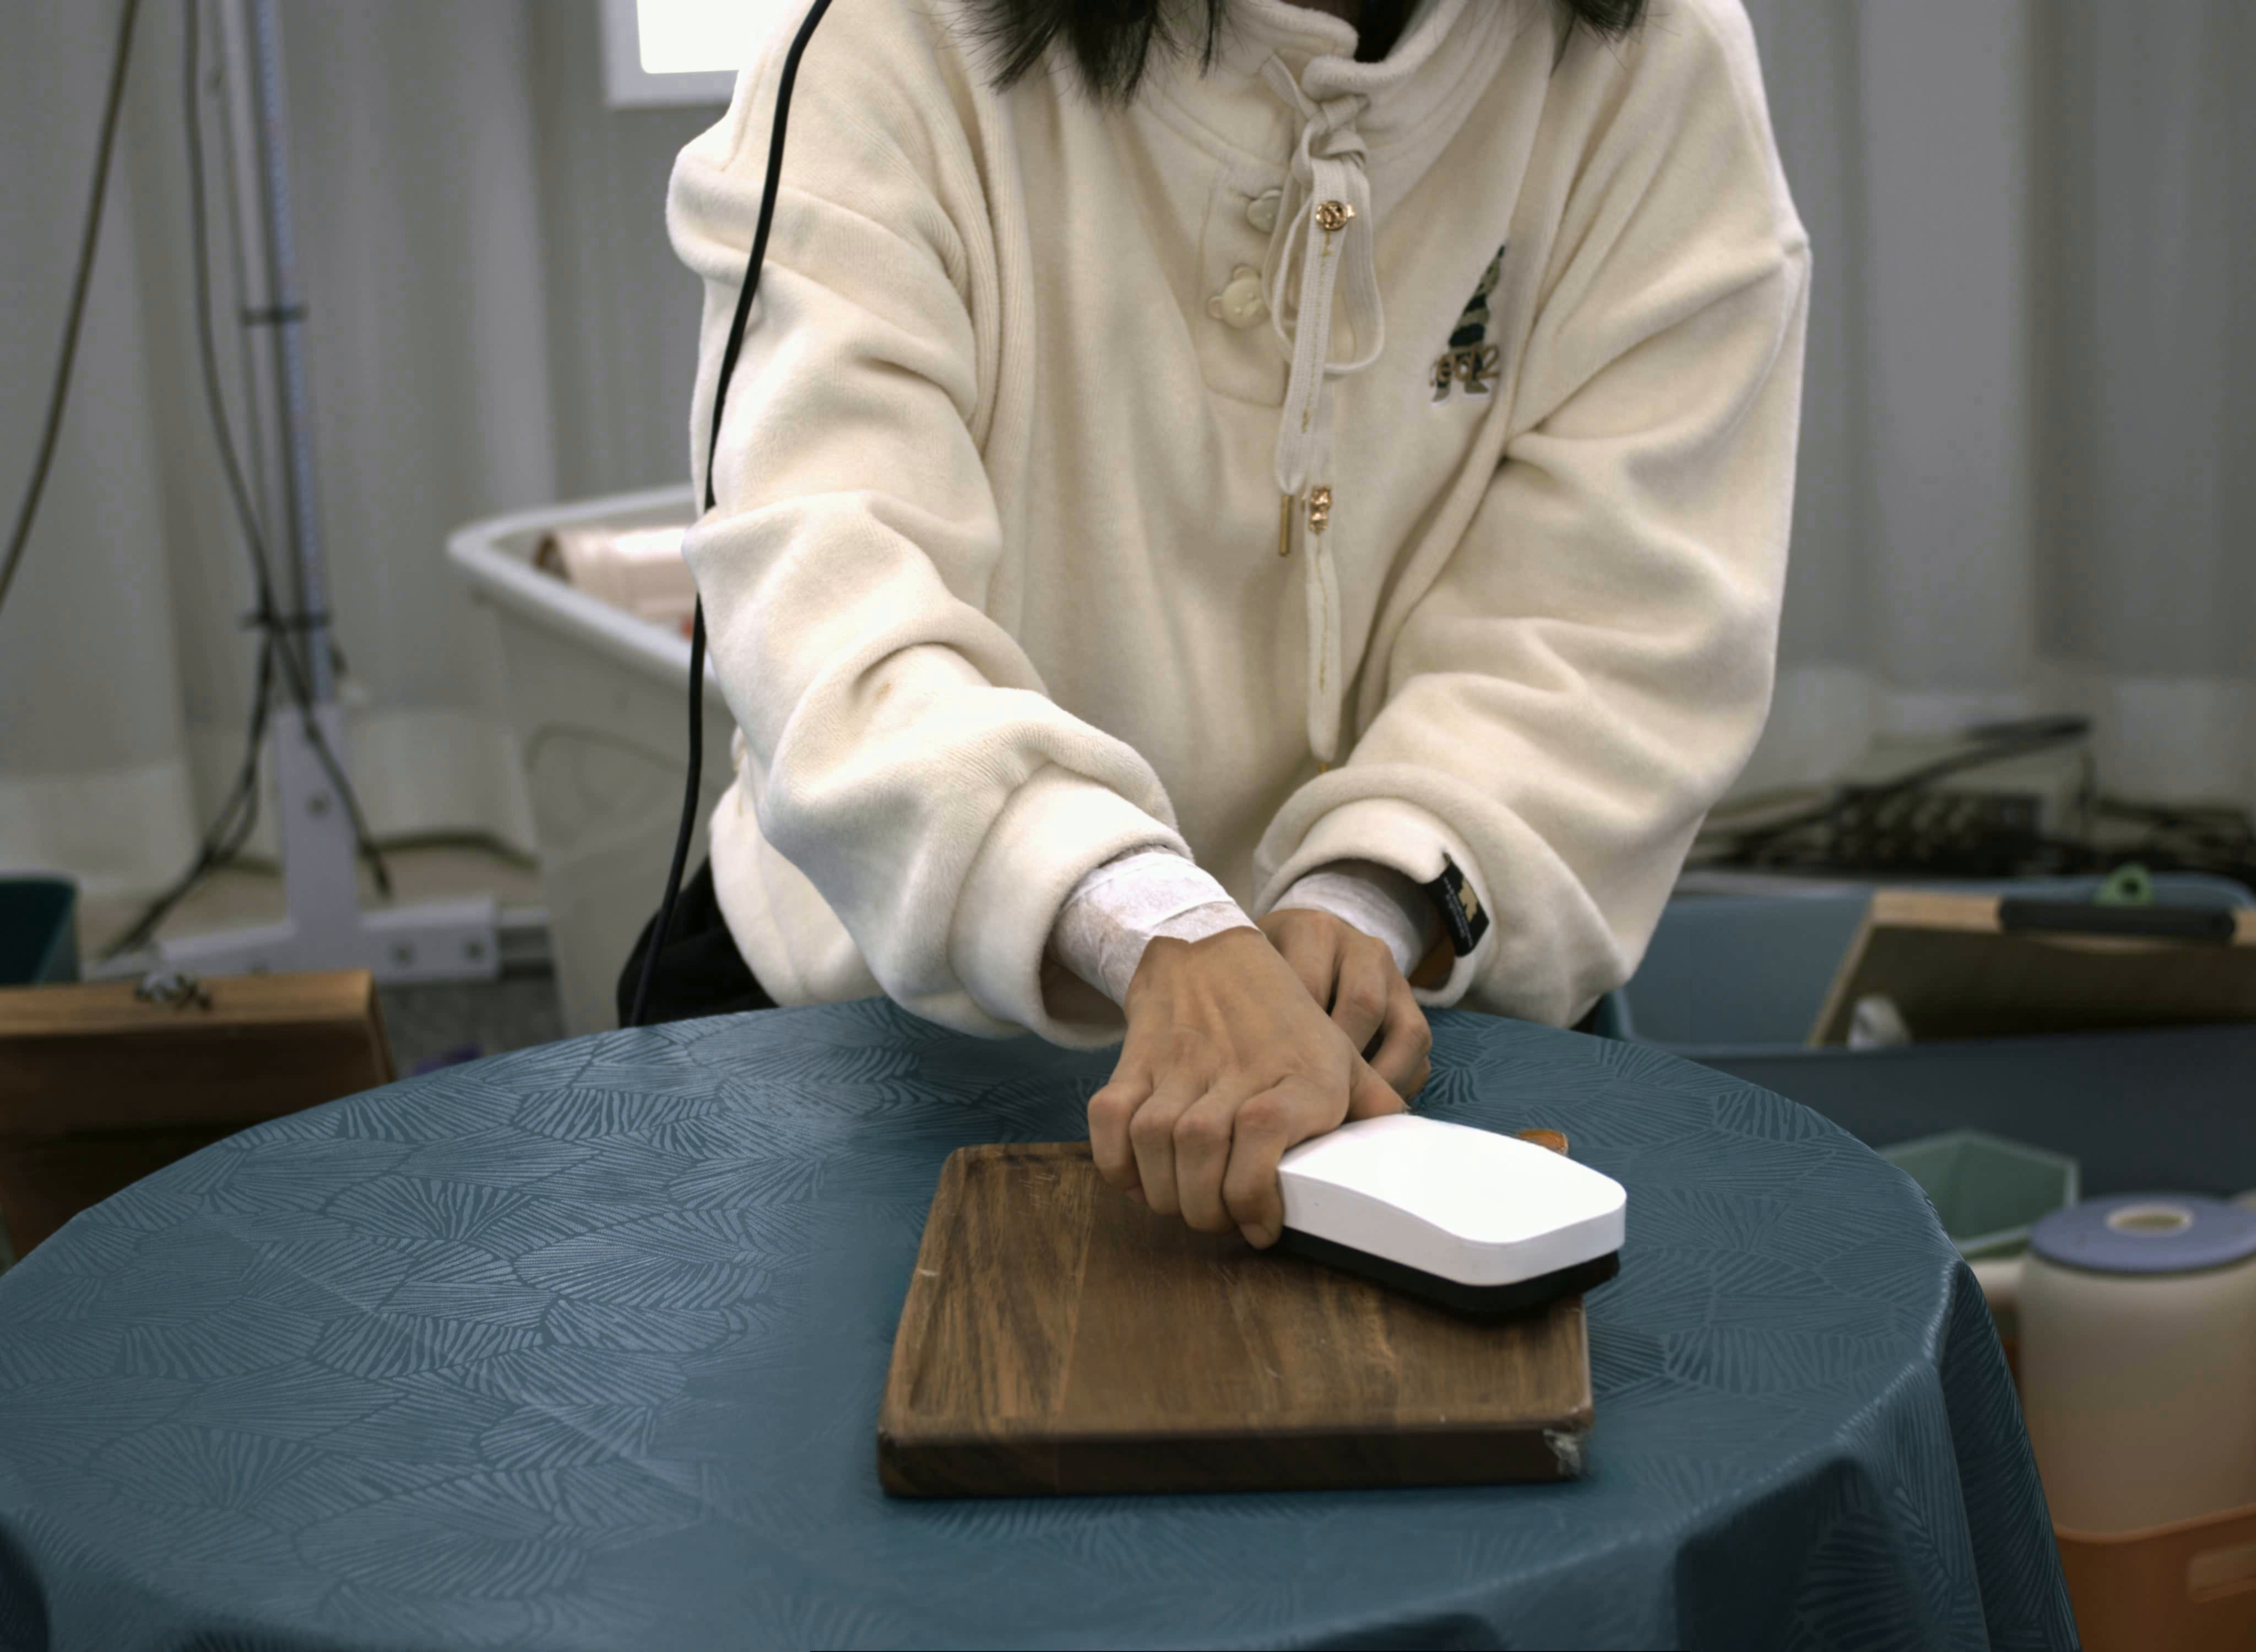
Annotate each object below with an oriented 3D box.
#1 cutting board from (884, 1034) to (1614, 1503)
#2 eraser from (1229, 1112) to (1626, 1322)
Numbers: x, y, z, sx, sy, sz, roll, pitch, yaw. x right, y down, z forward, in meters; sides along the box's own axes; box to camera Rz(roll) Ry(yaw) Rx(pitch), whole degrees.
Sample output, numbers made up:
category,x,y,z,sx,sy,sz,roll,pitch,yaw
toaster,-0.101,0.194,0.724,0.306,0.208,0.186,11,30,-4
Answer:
category,x,y,z,sx,sy,sz,roll,pitch,yaw
cutting board,0.037,0.124,1.629,0.200,0.023,0.354,-2,15,3
eraser,0.087,0.110,1.587,0.063,0.034,0.132,-13,16,-32
